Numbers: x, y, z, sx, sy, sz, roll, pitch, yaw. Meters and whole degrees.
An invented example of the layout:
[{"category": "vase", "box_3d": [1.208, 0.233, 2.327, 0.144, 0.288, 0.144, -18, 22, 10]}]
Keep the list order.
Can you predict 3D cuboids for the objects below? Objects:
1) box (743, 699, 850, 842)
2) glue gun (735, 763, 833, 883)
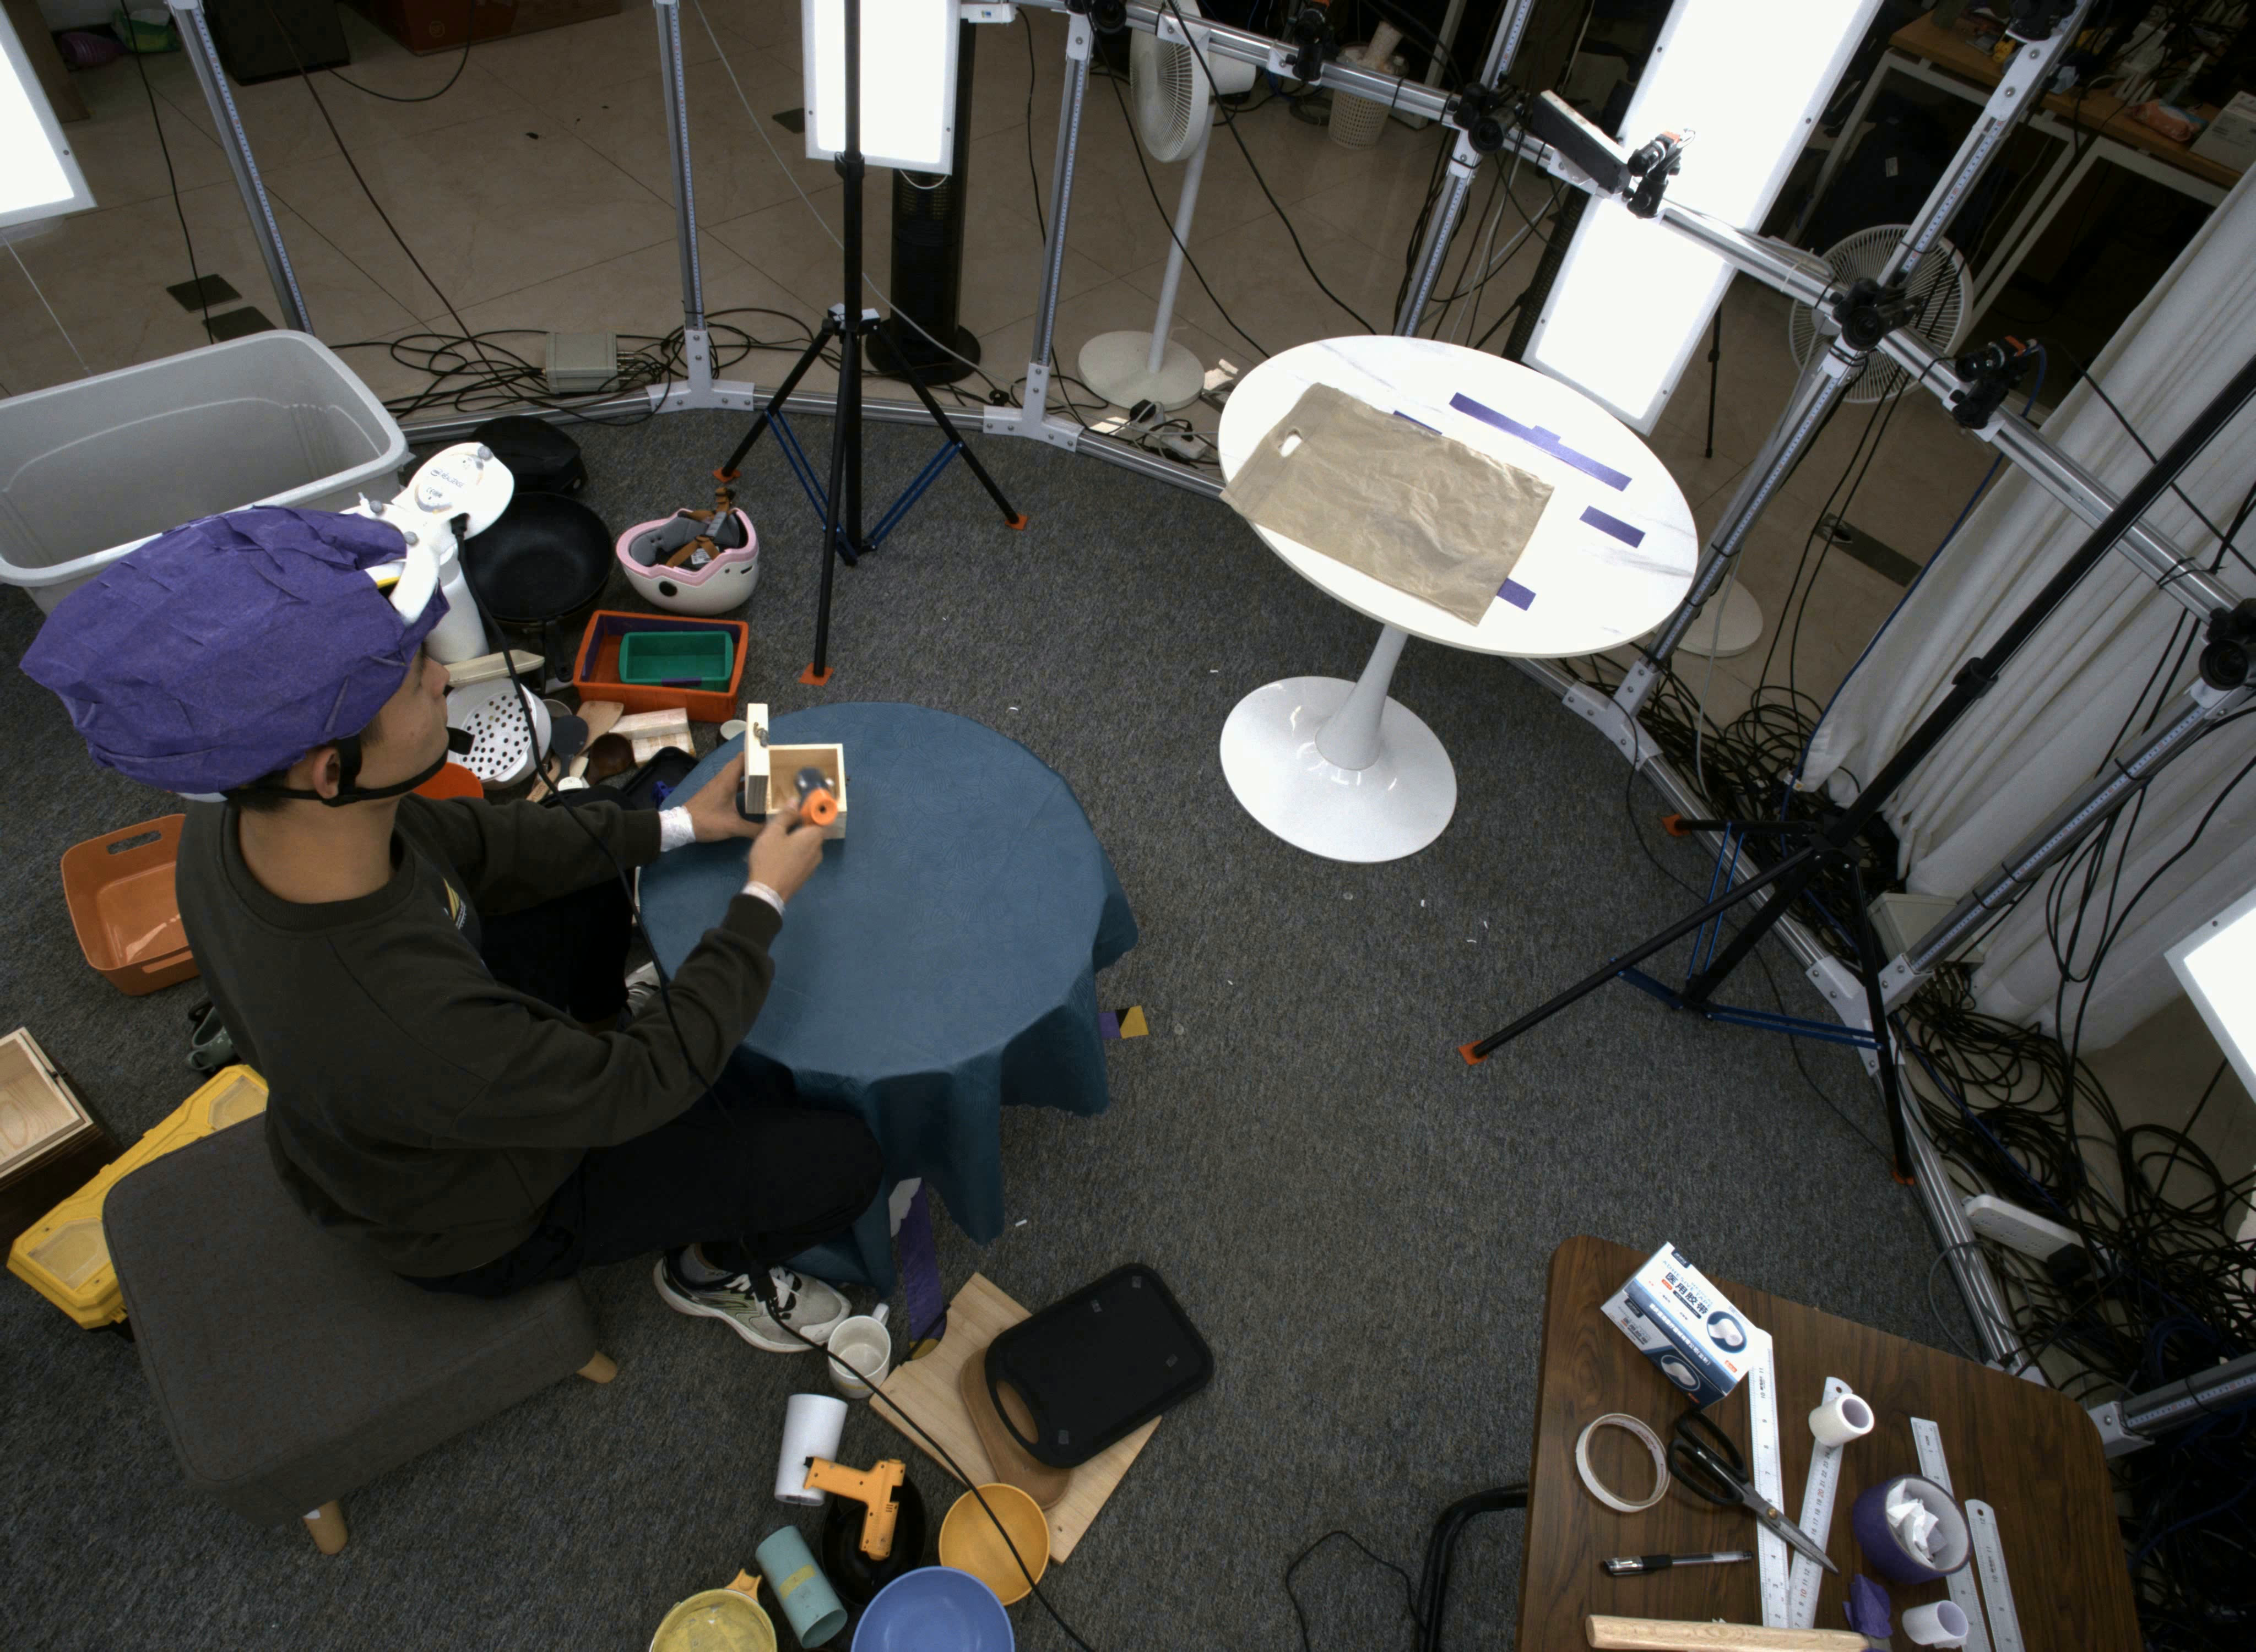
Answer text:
[{"category": "box", "box_3d": [-0.420, -0.069, 1.642, 0.134, 0.186, 0.101, -4, 63, -17]}, {"category": "glue gun", "box_3d": [-0.394, -0.010, 1.497, 0.042, 0.114, 0.140, 40, 76, -33]}]
